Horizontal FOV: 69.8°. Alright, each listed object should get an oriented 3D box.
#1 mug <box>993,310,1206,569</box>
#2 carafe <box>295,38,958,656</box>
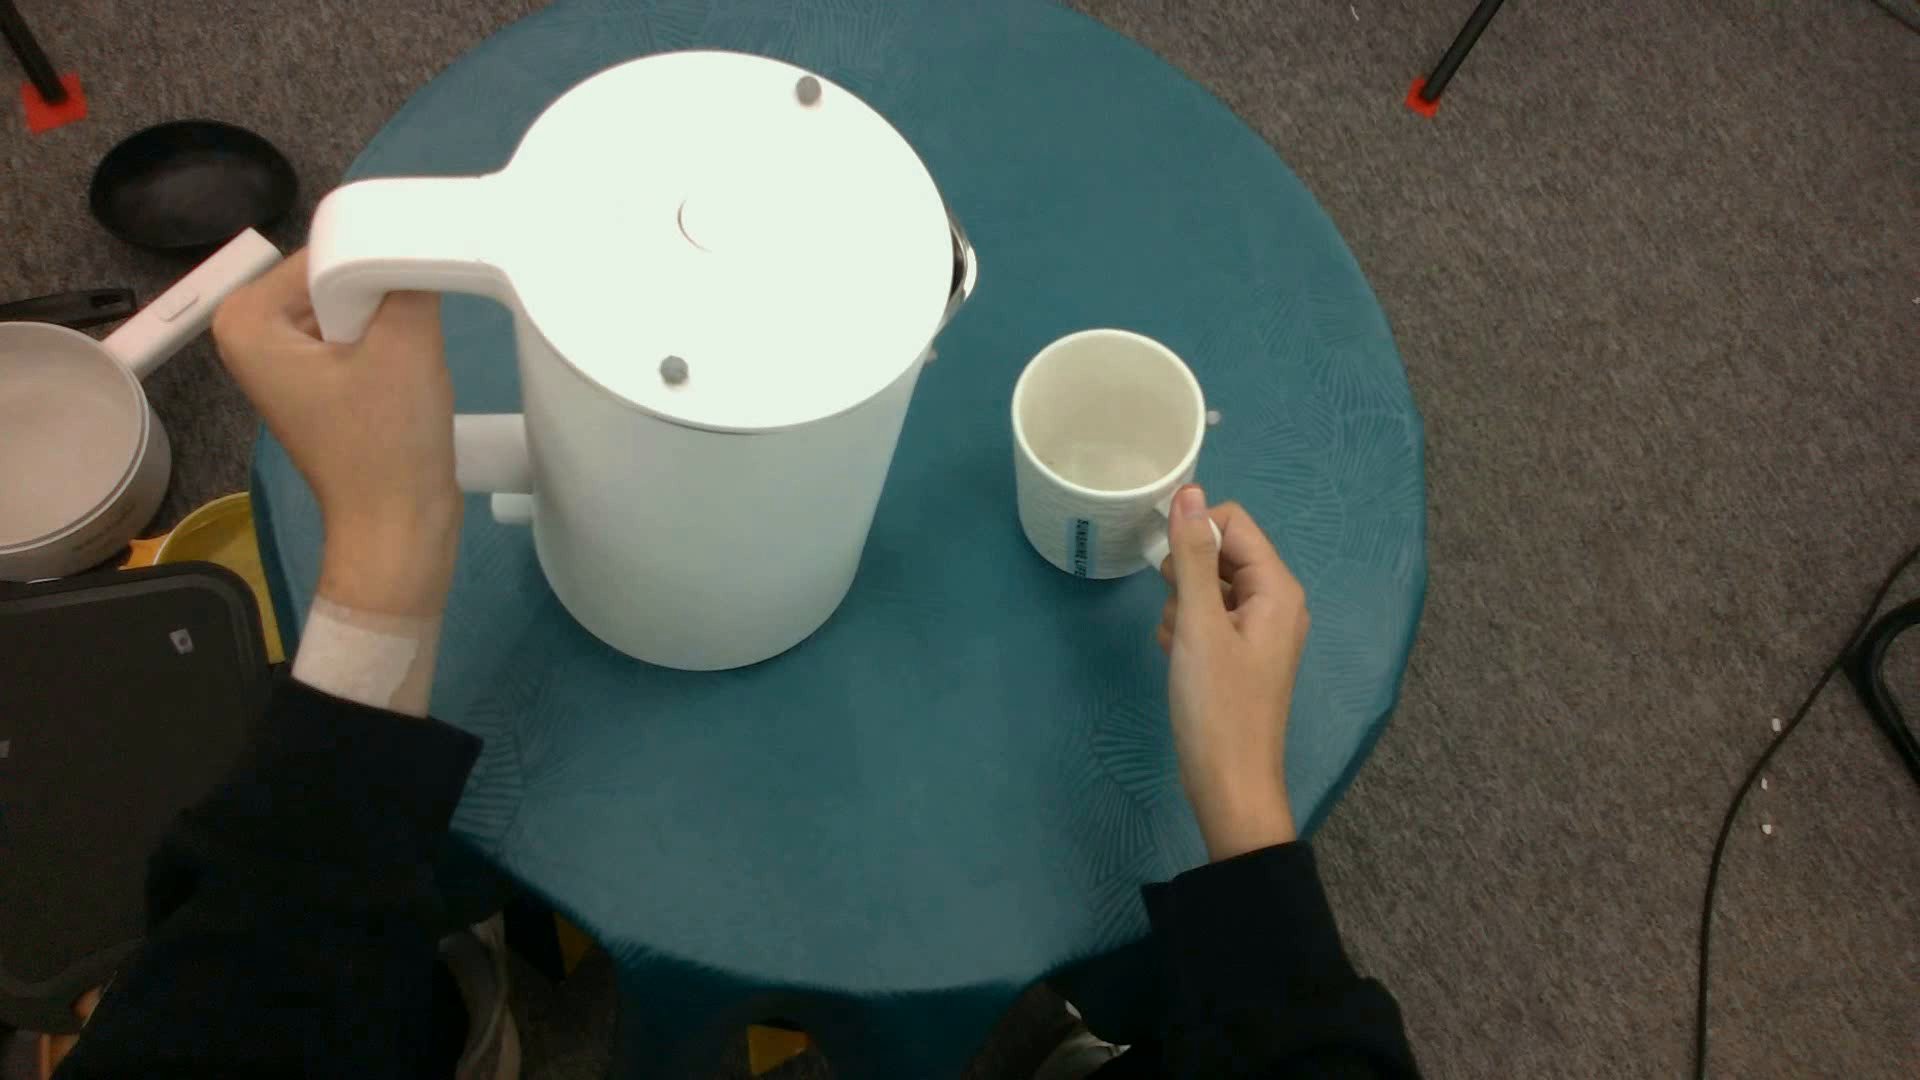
[{"bbox_3d":[0.069,-0.035,0.648,0.085,0.101,0.118,-37,70,-13],"label":"mug"},{"bbox_3d":[-0.129,-0.063,0.539,0.213,0.239,0.152,0,66,-16],"label":"carafe"}]
